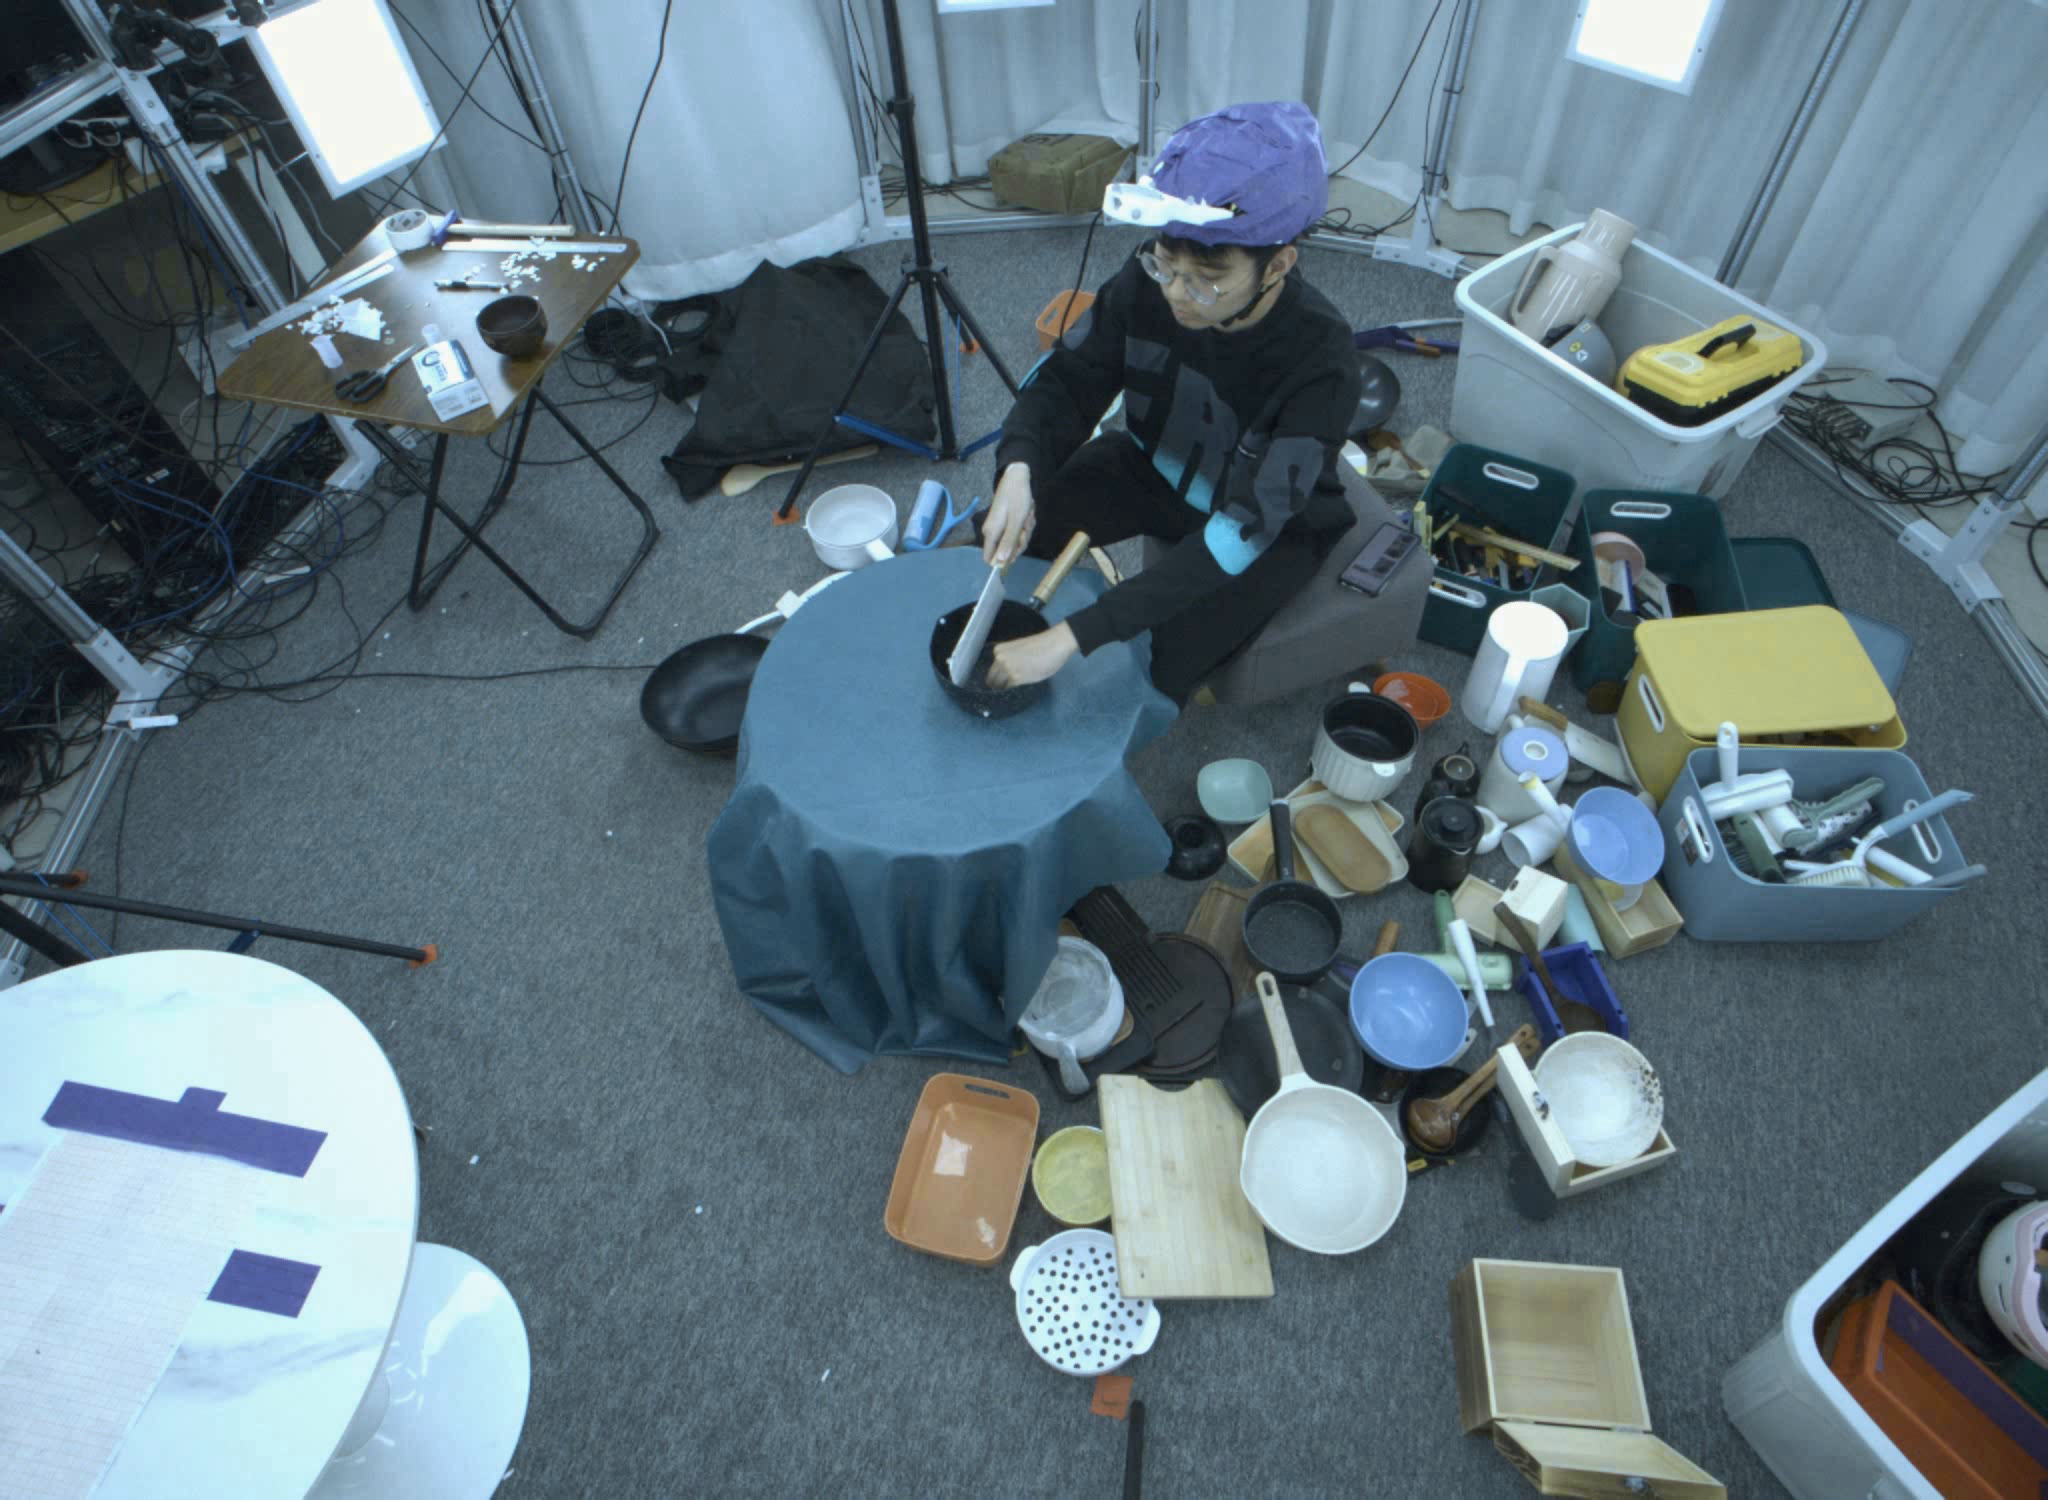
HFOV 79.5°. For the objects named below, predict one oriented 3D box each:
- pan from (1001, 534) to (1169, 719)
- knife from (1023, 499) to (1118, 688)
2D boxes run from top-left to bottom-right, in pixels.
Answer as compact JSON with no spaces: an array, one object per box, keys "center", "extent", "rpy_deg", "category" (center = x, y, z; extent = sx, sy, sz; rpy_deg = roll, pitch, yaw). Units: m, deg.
[{"center":[0.108,-0.189,1.849],"extent":[0.204,0.109,0.344],"rpy_deg":[30,62,23],"category":"pan"},{"center":[0.065,-0.229,1.785],"extent":[0.021,0.115,0.315],"rpy_deg":[22,77,15],"category":"knife"}]
